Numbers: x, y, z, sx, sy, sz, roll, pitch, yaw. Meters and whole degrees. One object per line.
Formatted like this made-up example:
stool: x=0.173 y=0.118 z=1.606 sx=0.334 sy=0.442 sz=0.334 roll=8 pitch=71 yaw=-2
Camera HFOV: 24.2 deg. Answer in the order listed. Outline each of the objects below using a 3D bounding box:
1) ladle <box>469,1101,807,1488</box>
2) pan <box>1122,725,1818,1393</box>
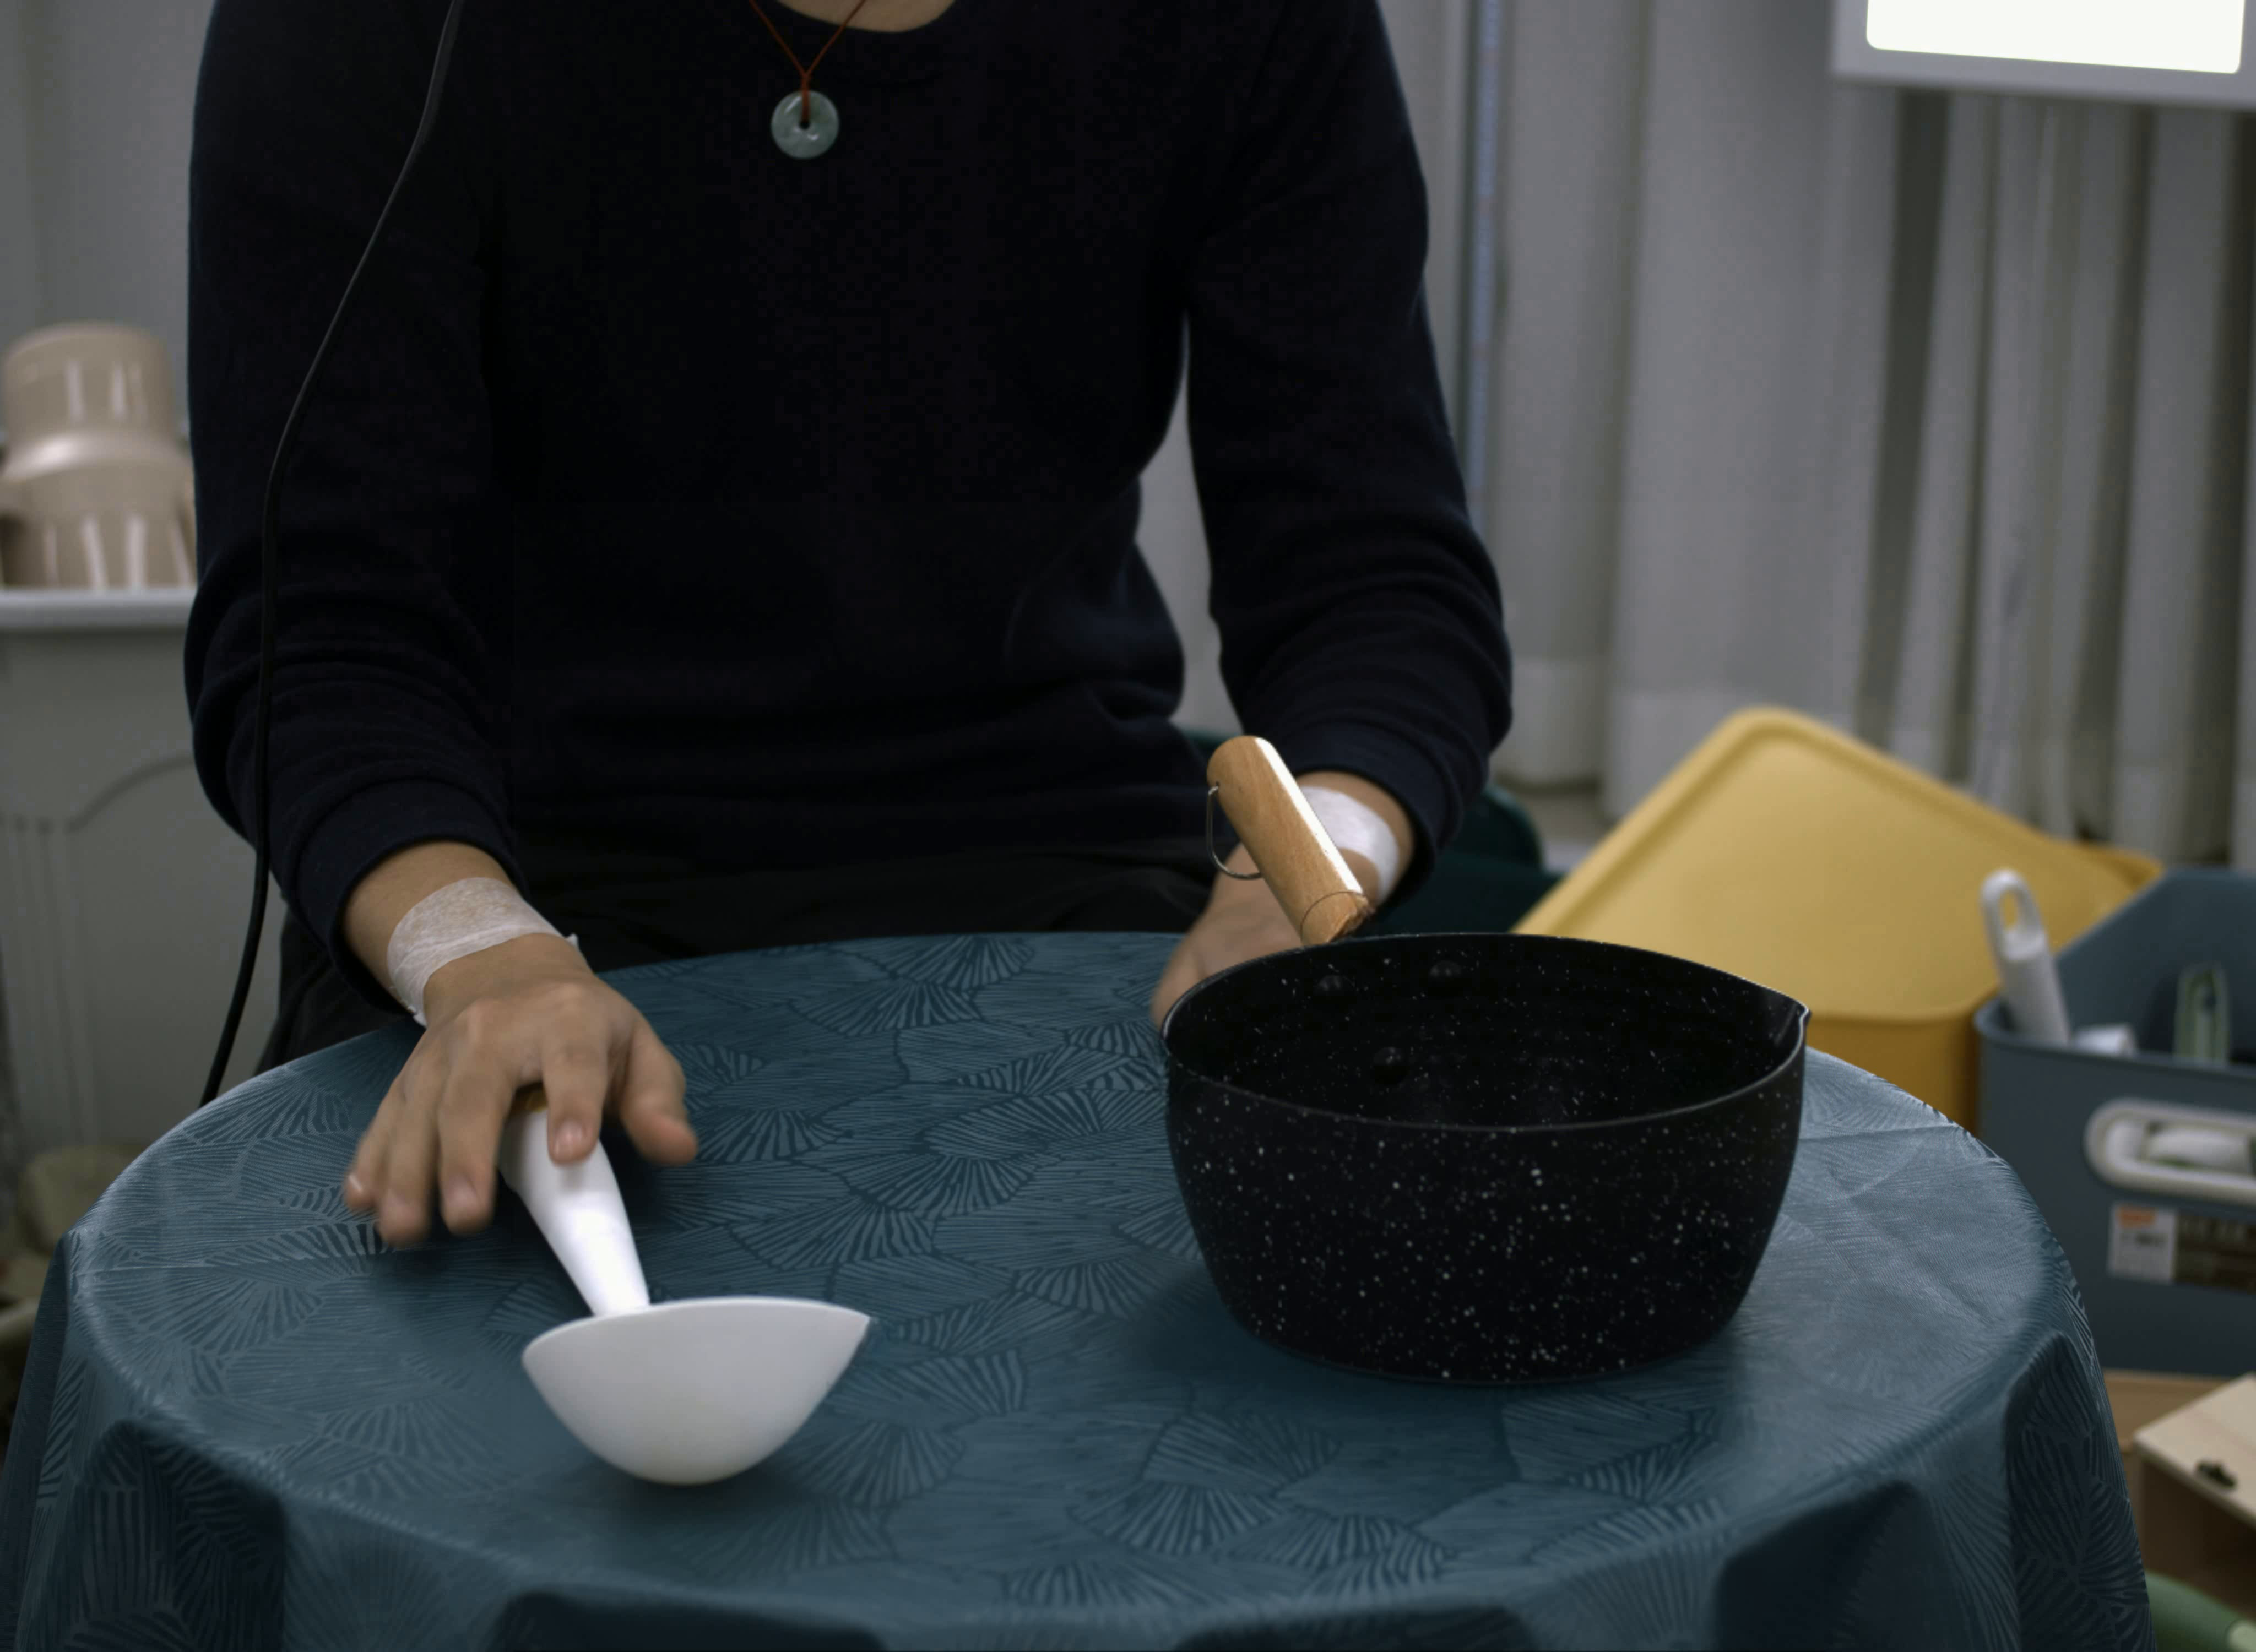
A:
ladle: x=-0.152 y=0.117 z=1.485 sx=0.090 sy=0.070 sz=0.290 roll=-10 pitch=16 yaw=-11
pan: x=0.080 y=0.065 z=1.593 sx=0.208 sy=0.109 sz=0.339 roll=-5 pitch=18 yaw=-16
